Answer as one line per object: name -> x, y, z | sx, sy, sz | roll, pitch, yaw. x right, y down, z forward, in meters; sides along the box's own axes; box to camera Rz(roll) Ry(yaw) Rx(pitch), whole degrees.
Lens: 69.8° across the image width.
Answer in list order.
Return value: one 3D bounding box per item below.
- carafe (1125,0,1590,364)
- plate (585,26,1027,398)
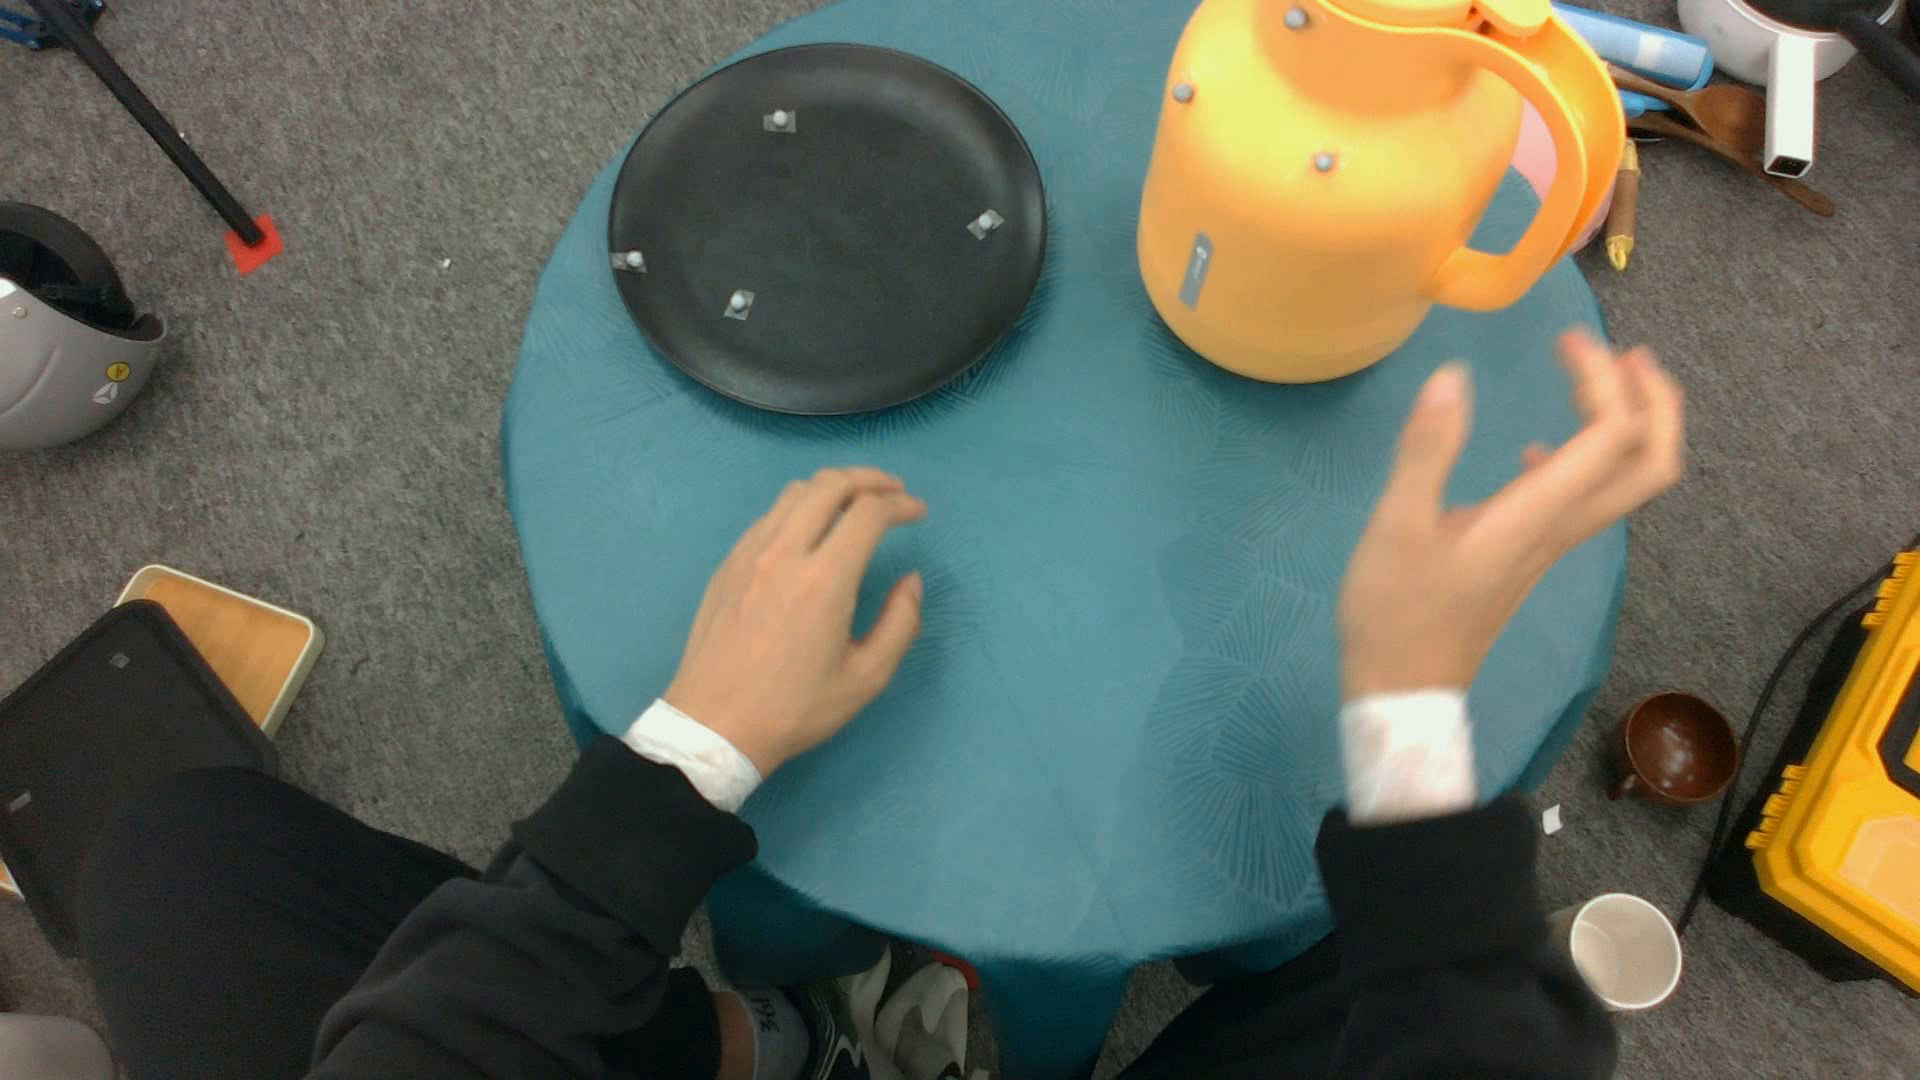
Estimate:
carafe -> 0.178, -0.191, 0.646 | 0.164, 0.259, 0.202 | -40, 72, -11
plate -> -0.085, -0.184, 0.768 | 0.244, 0.023, 0.245 | 0, 68, 0
